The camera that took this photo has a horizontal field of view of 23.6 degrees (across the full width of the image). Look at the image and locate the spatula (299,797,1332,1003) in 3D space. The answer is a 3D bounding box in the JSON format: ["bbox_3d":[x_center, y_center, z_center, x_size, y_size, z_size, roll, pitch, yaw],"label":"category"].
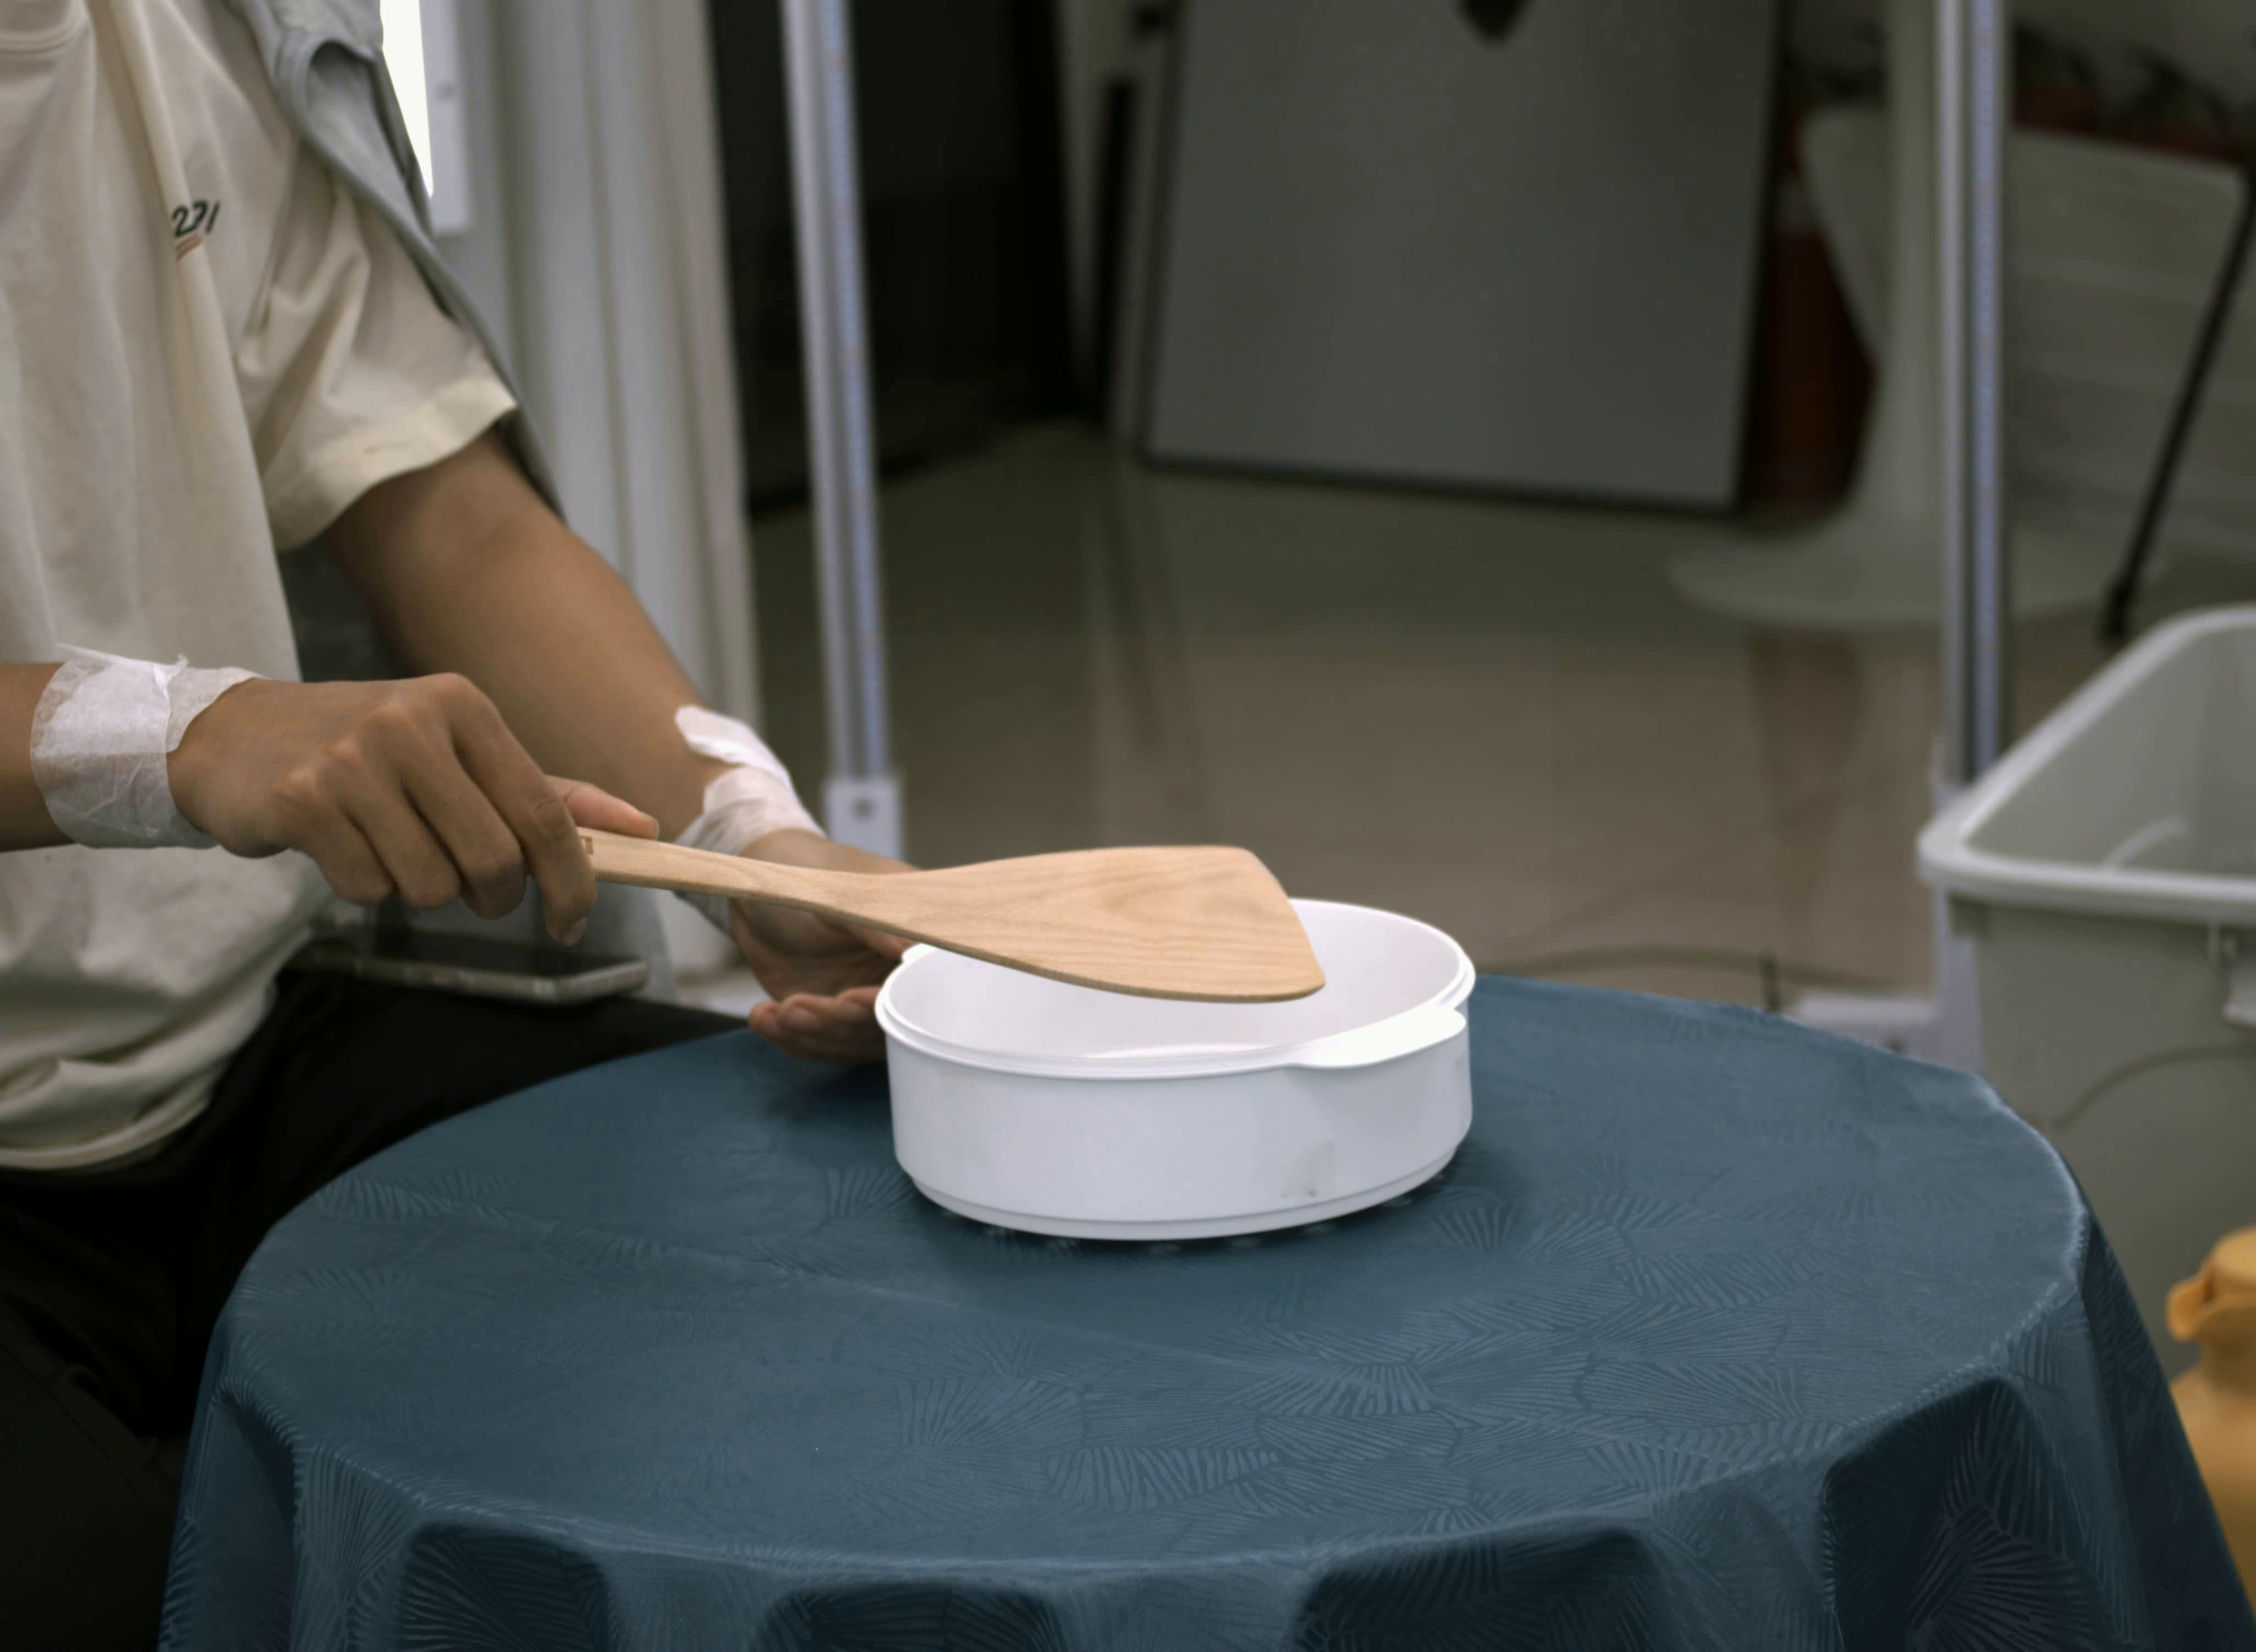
[{"bbox_3d":[-0.097,0.016,1.690,0.321,0.017,0.080,8,32,-13],"label":"spatula"}]

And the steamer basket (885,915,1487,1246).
[{"bbox_3d":[0.021,0.084,1.784,0.197,0.070,0.233,-14,16,-39],"label":"steamer basket"}]
